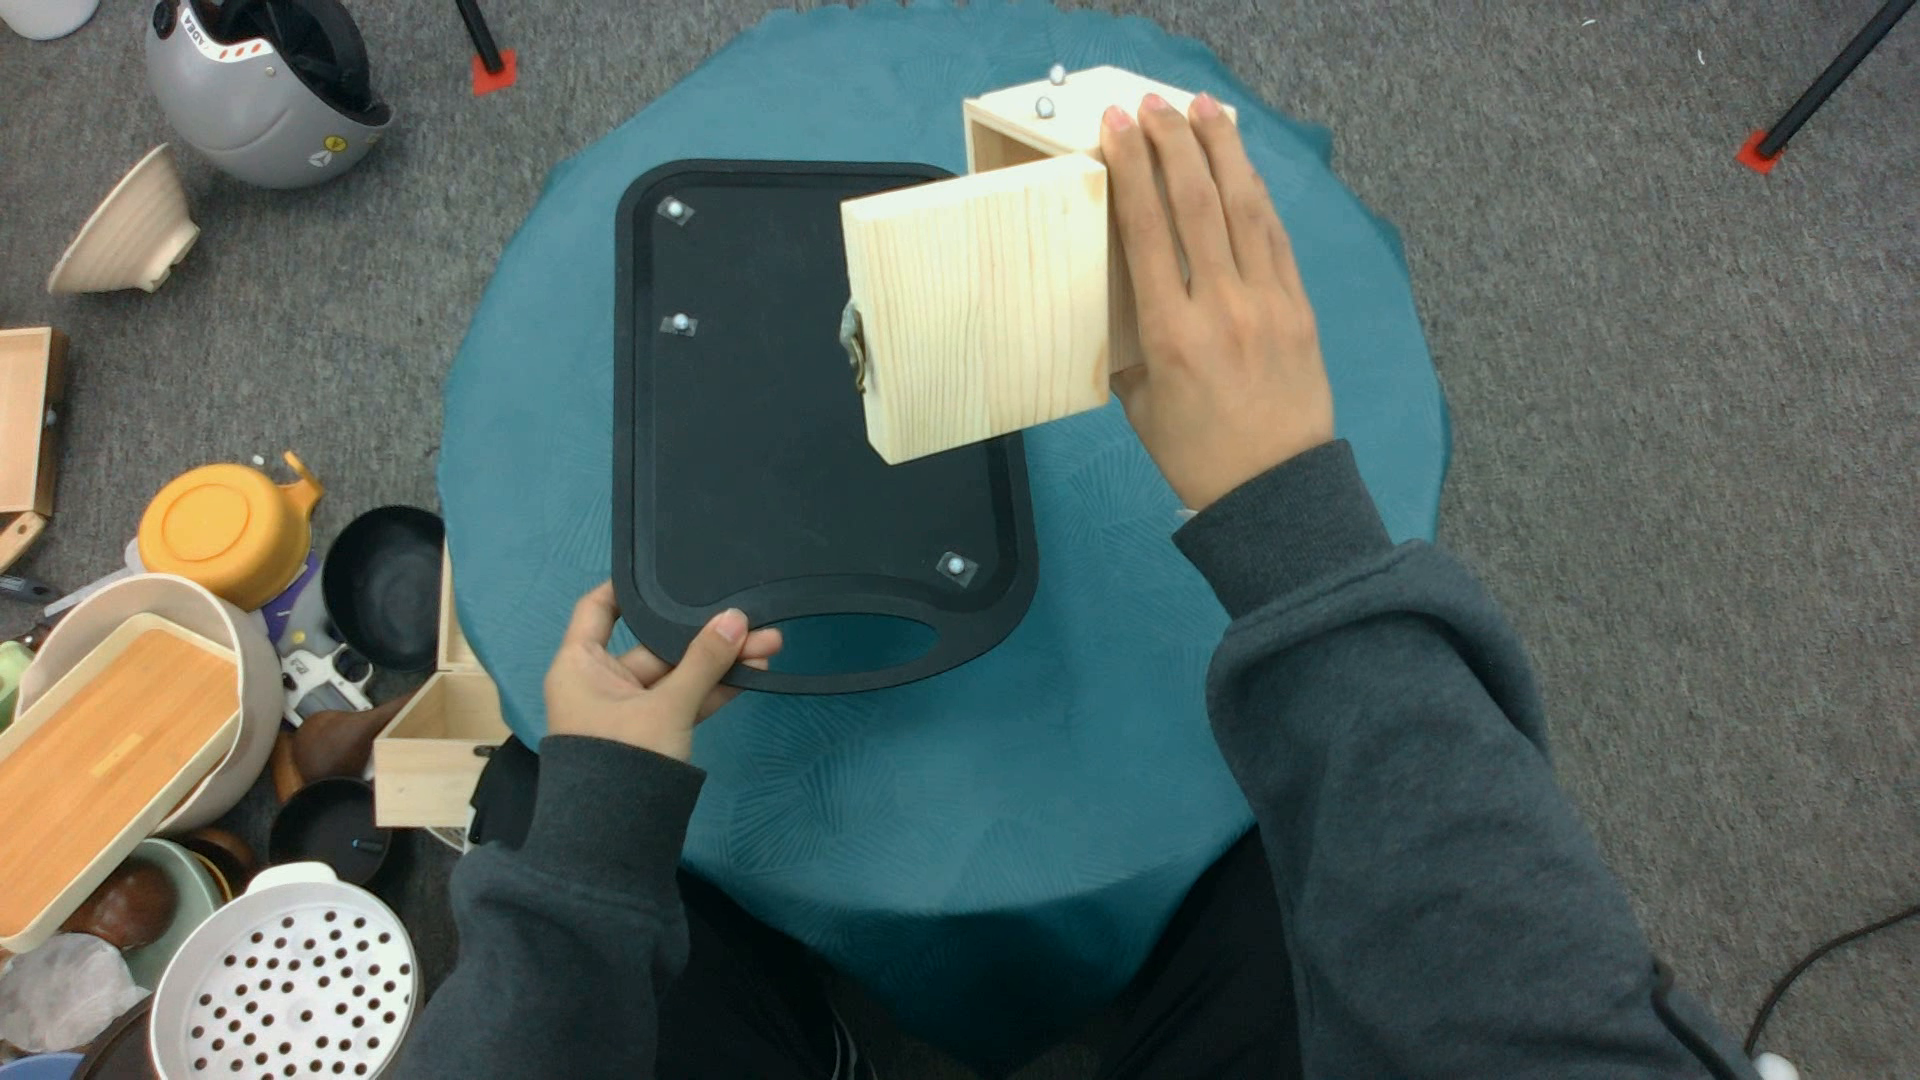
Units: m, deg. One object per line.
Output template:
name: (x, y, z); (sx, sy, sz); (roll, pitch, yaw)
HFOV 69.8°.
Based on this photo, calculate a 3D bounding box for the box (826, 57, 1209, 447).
box: (0.009, -0.133, 0.598); (0.185, 0.102, 0.134); (-19, 36, -24)

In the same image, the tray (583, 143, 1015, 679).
tray: (-0.085, -0.081, 0.714); (0.211, 0.010, 0.326); (-2, 63, -10)
